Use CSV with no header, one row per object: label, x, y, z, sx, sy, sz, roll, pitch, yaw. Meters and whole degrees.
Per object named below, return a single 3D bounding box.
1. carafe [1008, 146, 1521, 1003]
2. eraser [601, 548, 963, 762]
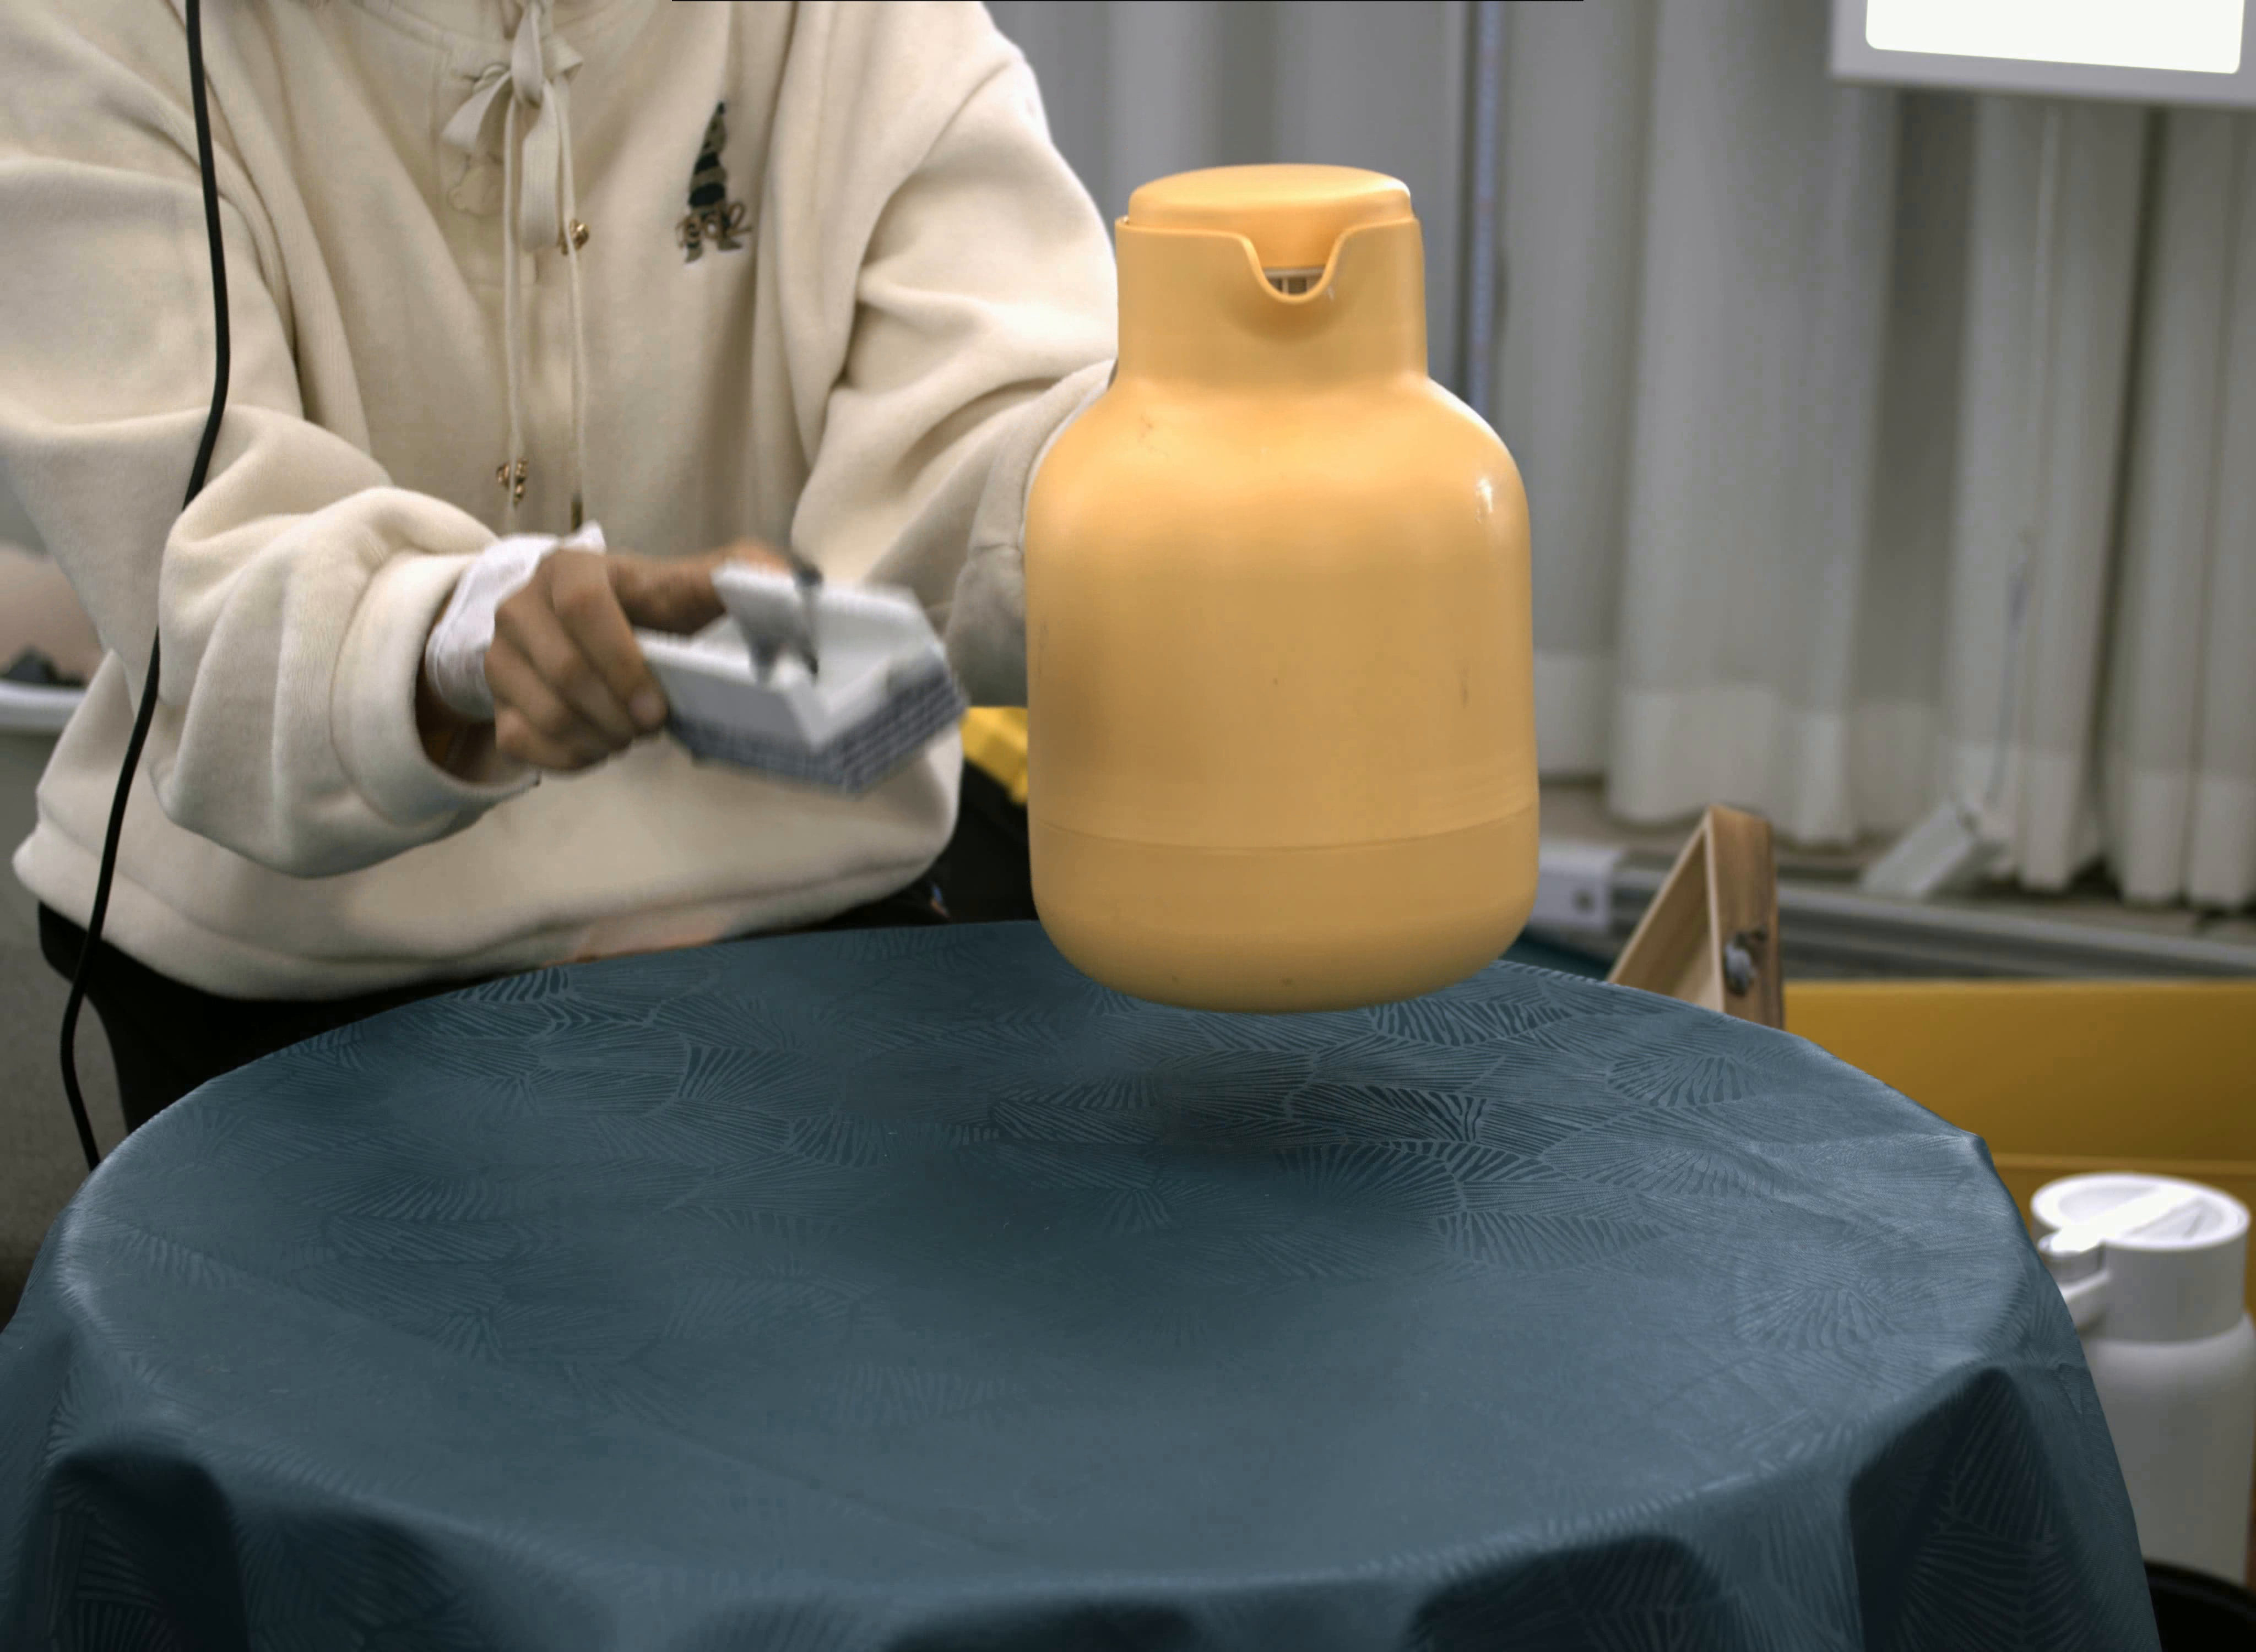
carafe,0.045,-0.087,1.681,0.163,0.262,0.201,1,13,-3
eraser,-0.103,-0.052,1.566,0.050,0.047,0.133,-41,22,-21
